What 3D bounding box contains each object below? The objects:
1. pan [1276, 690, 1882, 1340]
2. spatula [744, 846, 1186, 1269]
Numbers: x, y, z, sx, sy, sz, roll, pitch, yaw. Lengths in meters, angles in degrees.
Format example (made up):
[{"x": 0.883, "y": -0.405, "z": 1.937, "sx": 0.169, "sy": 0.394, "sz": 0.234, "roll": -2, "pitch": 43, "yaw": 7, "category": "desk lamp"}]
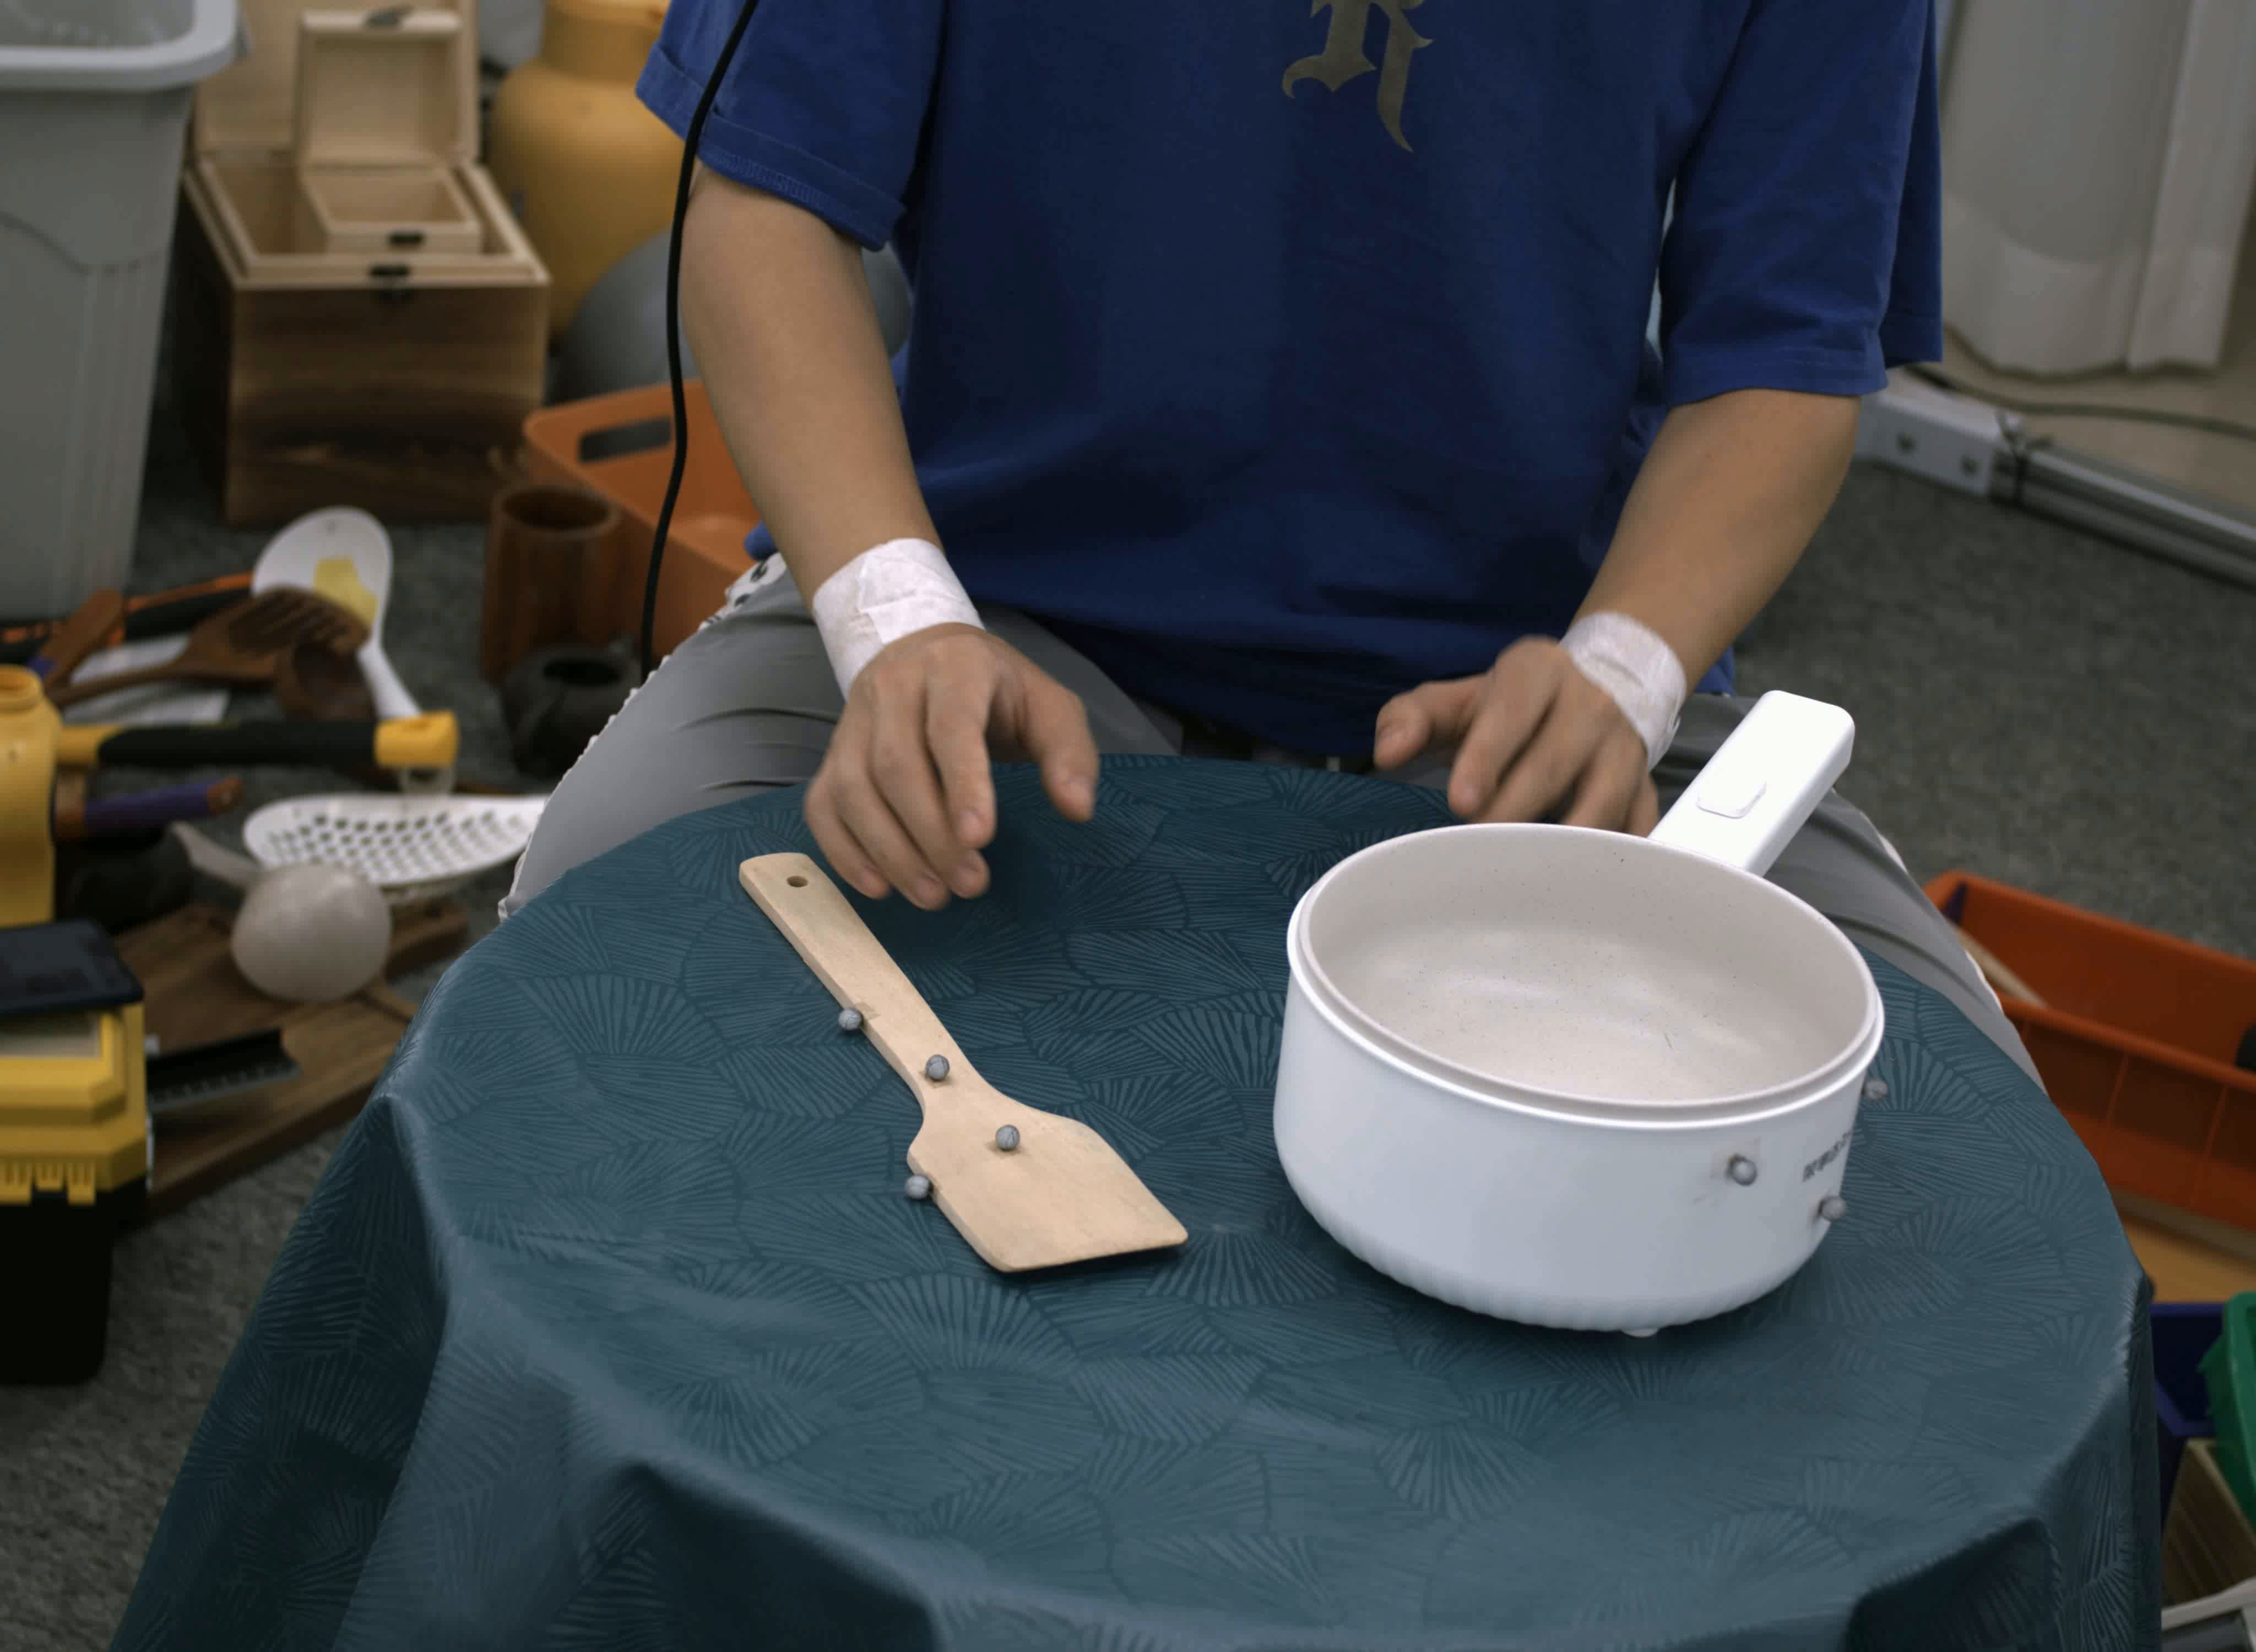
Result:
[{"x": 0.179, "y": 0.061, "z": 1.861, "sx": 0.202, "sy": 0.102, "sz": 0.355, "roll": 14, "pitch": 28, "yaw": 19, "category": "pan"}, {"x": -0.072, "y": 0.077, "z": 1.869, "sx": 0.072, "sy": 0.010, "sz": 0.296, "roll": -8, "pitch": 30, "yaw": -24, "category": "spatula"}]
